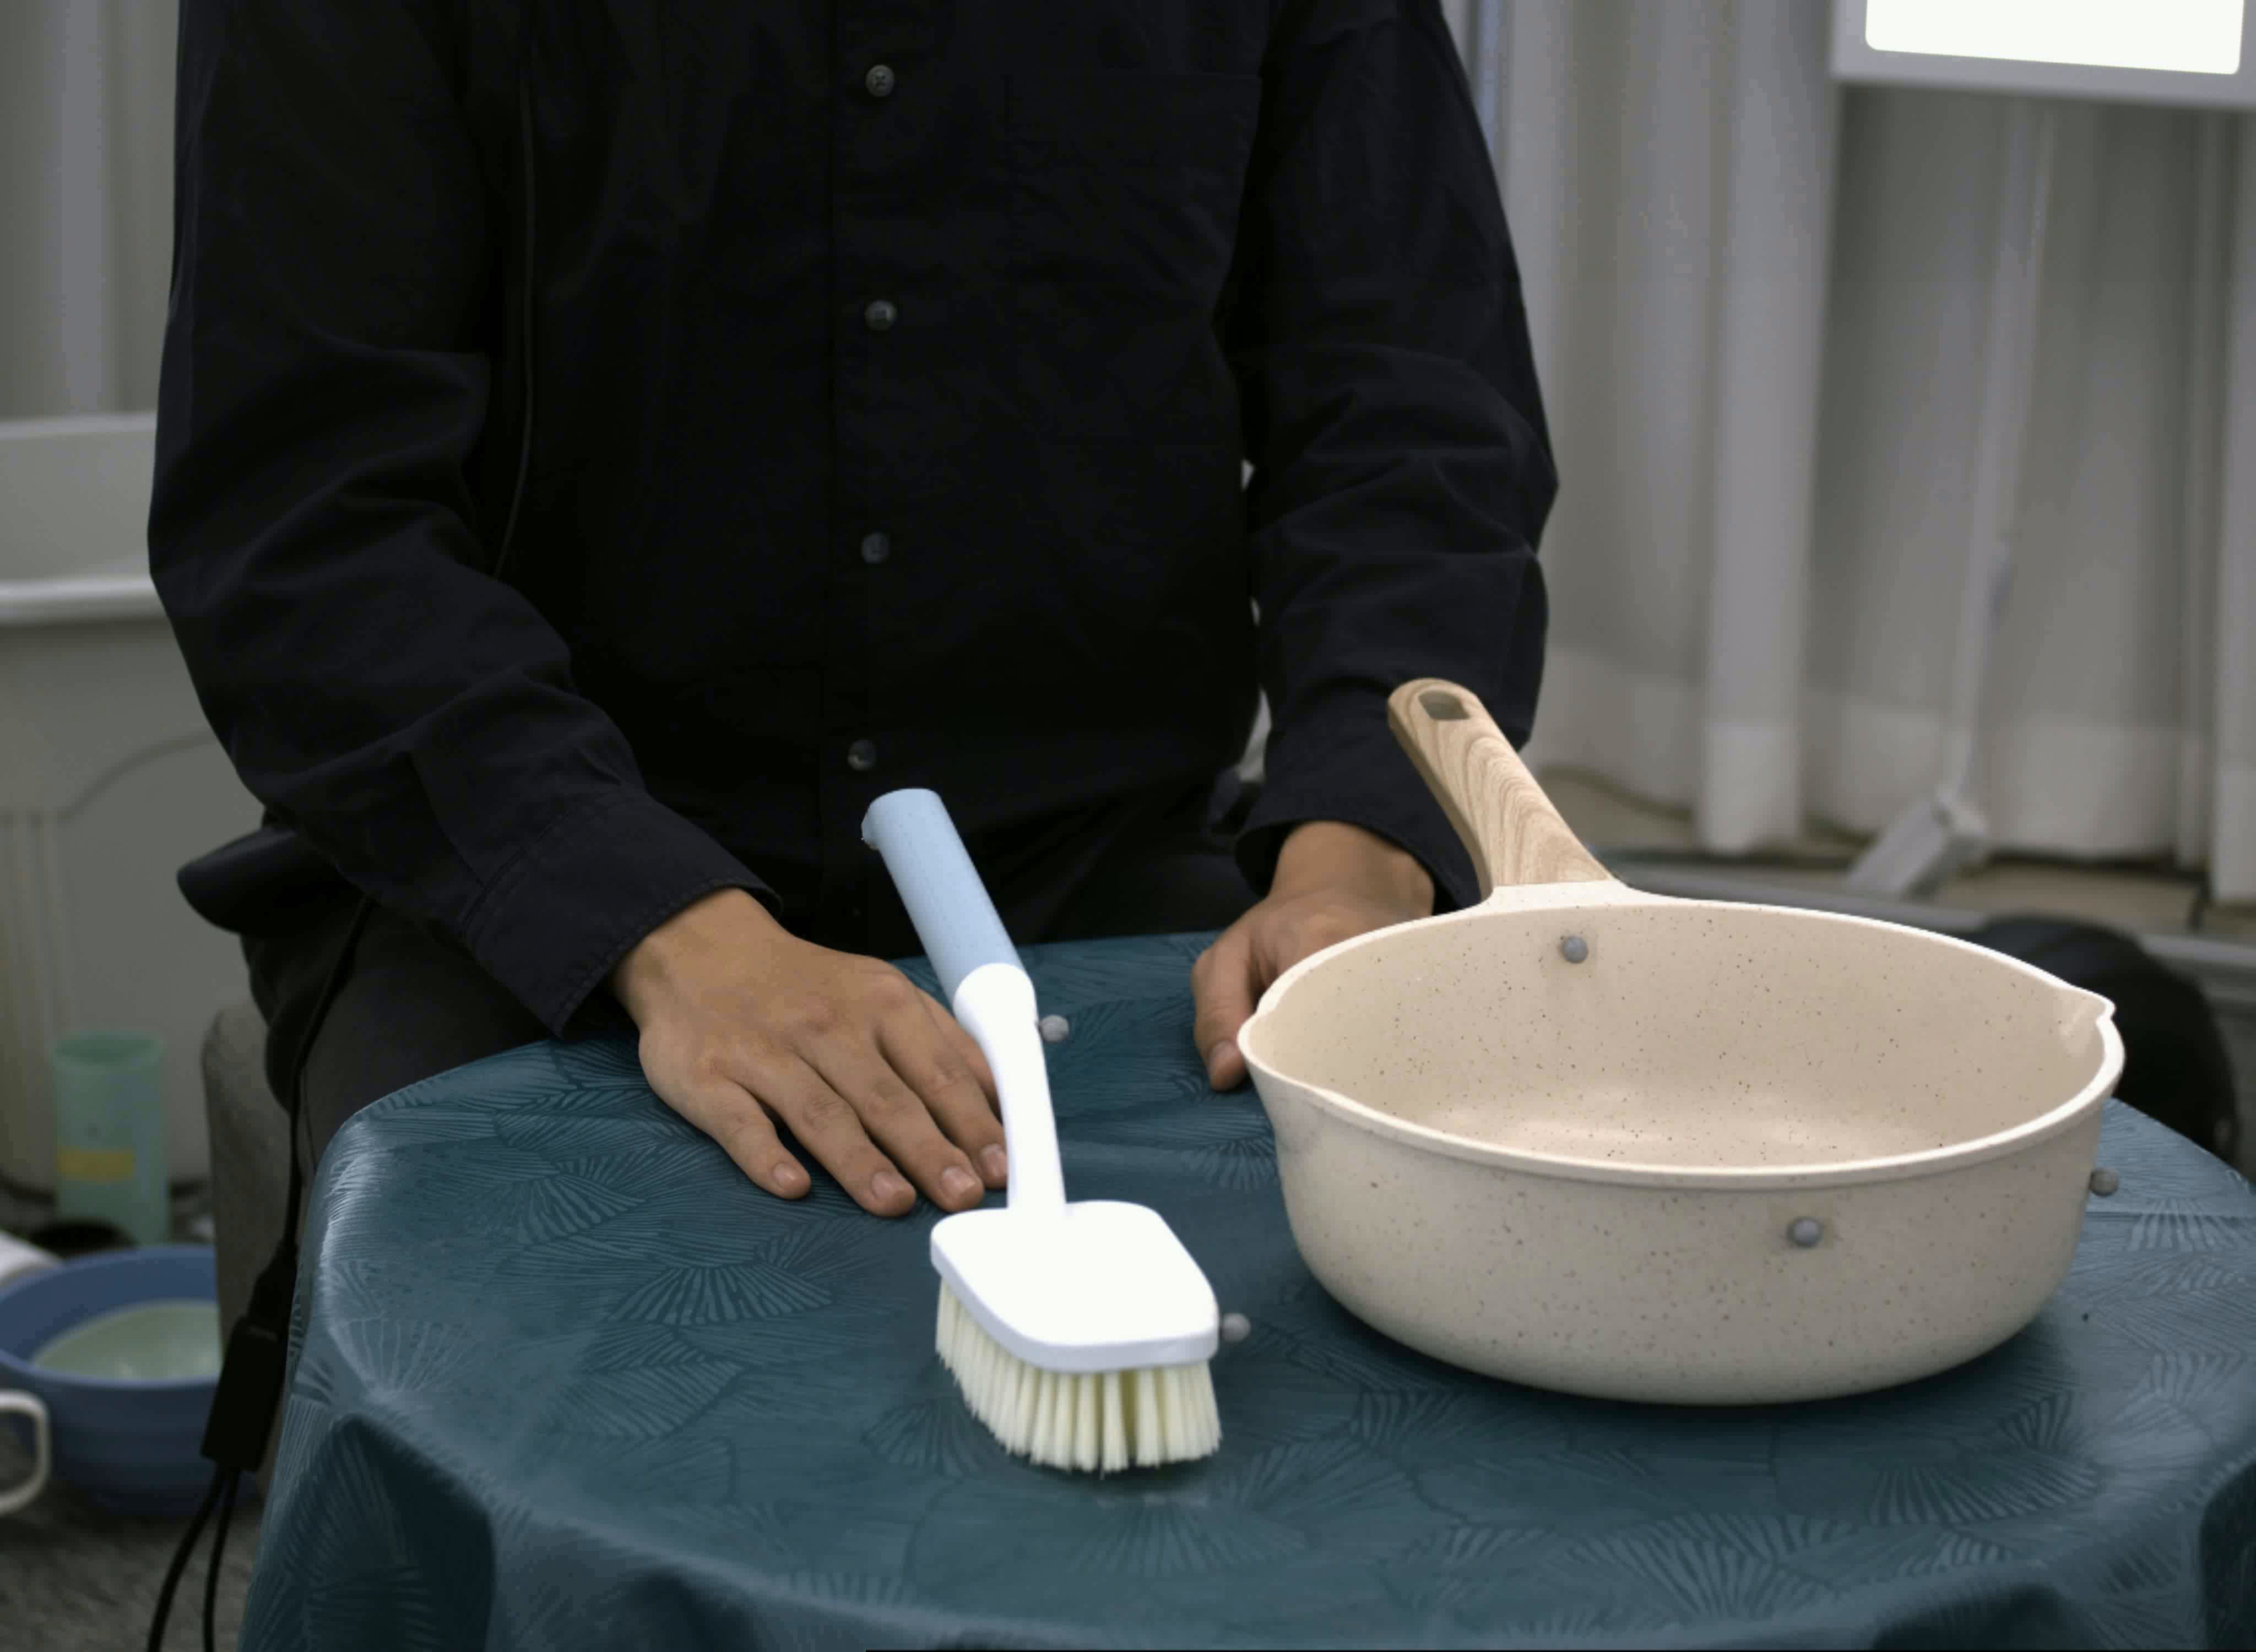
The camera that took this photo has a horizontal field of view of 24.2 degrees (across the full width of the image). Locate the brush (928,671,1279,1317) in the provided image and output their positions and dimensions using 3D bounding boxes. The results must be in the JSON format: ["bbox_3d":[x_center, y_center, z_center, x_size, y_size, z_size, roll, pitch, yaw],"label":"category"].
[{"bbox_3d":[-0.014,0.061,1.568,0.084,0.084,0.321,33,15,-28],"label":"brush"}]

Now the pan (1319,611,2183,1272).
[{"bbox_3d":[0.166,0.031,1.654,0.263,0.103,0.431,-3,16,-12],"label":"pan"}]
